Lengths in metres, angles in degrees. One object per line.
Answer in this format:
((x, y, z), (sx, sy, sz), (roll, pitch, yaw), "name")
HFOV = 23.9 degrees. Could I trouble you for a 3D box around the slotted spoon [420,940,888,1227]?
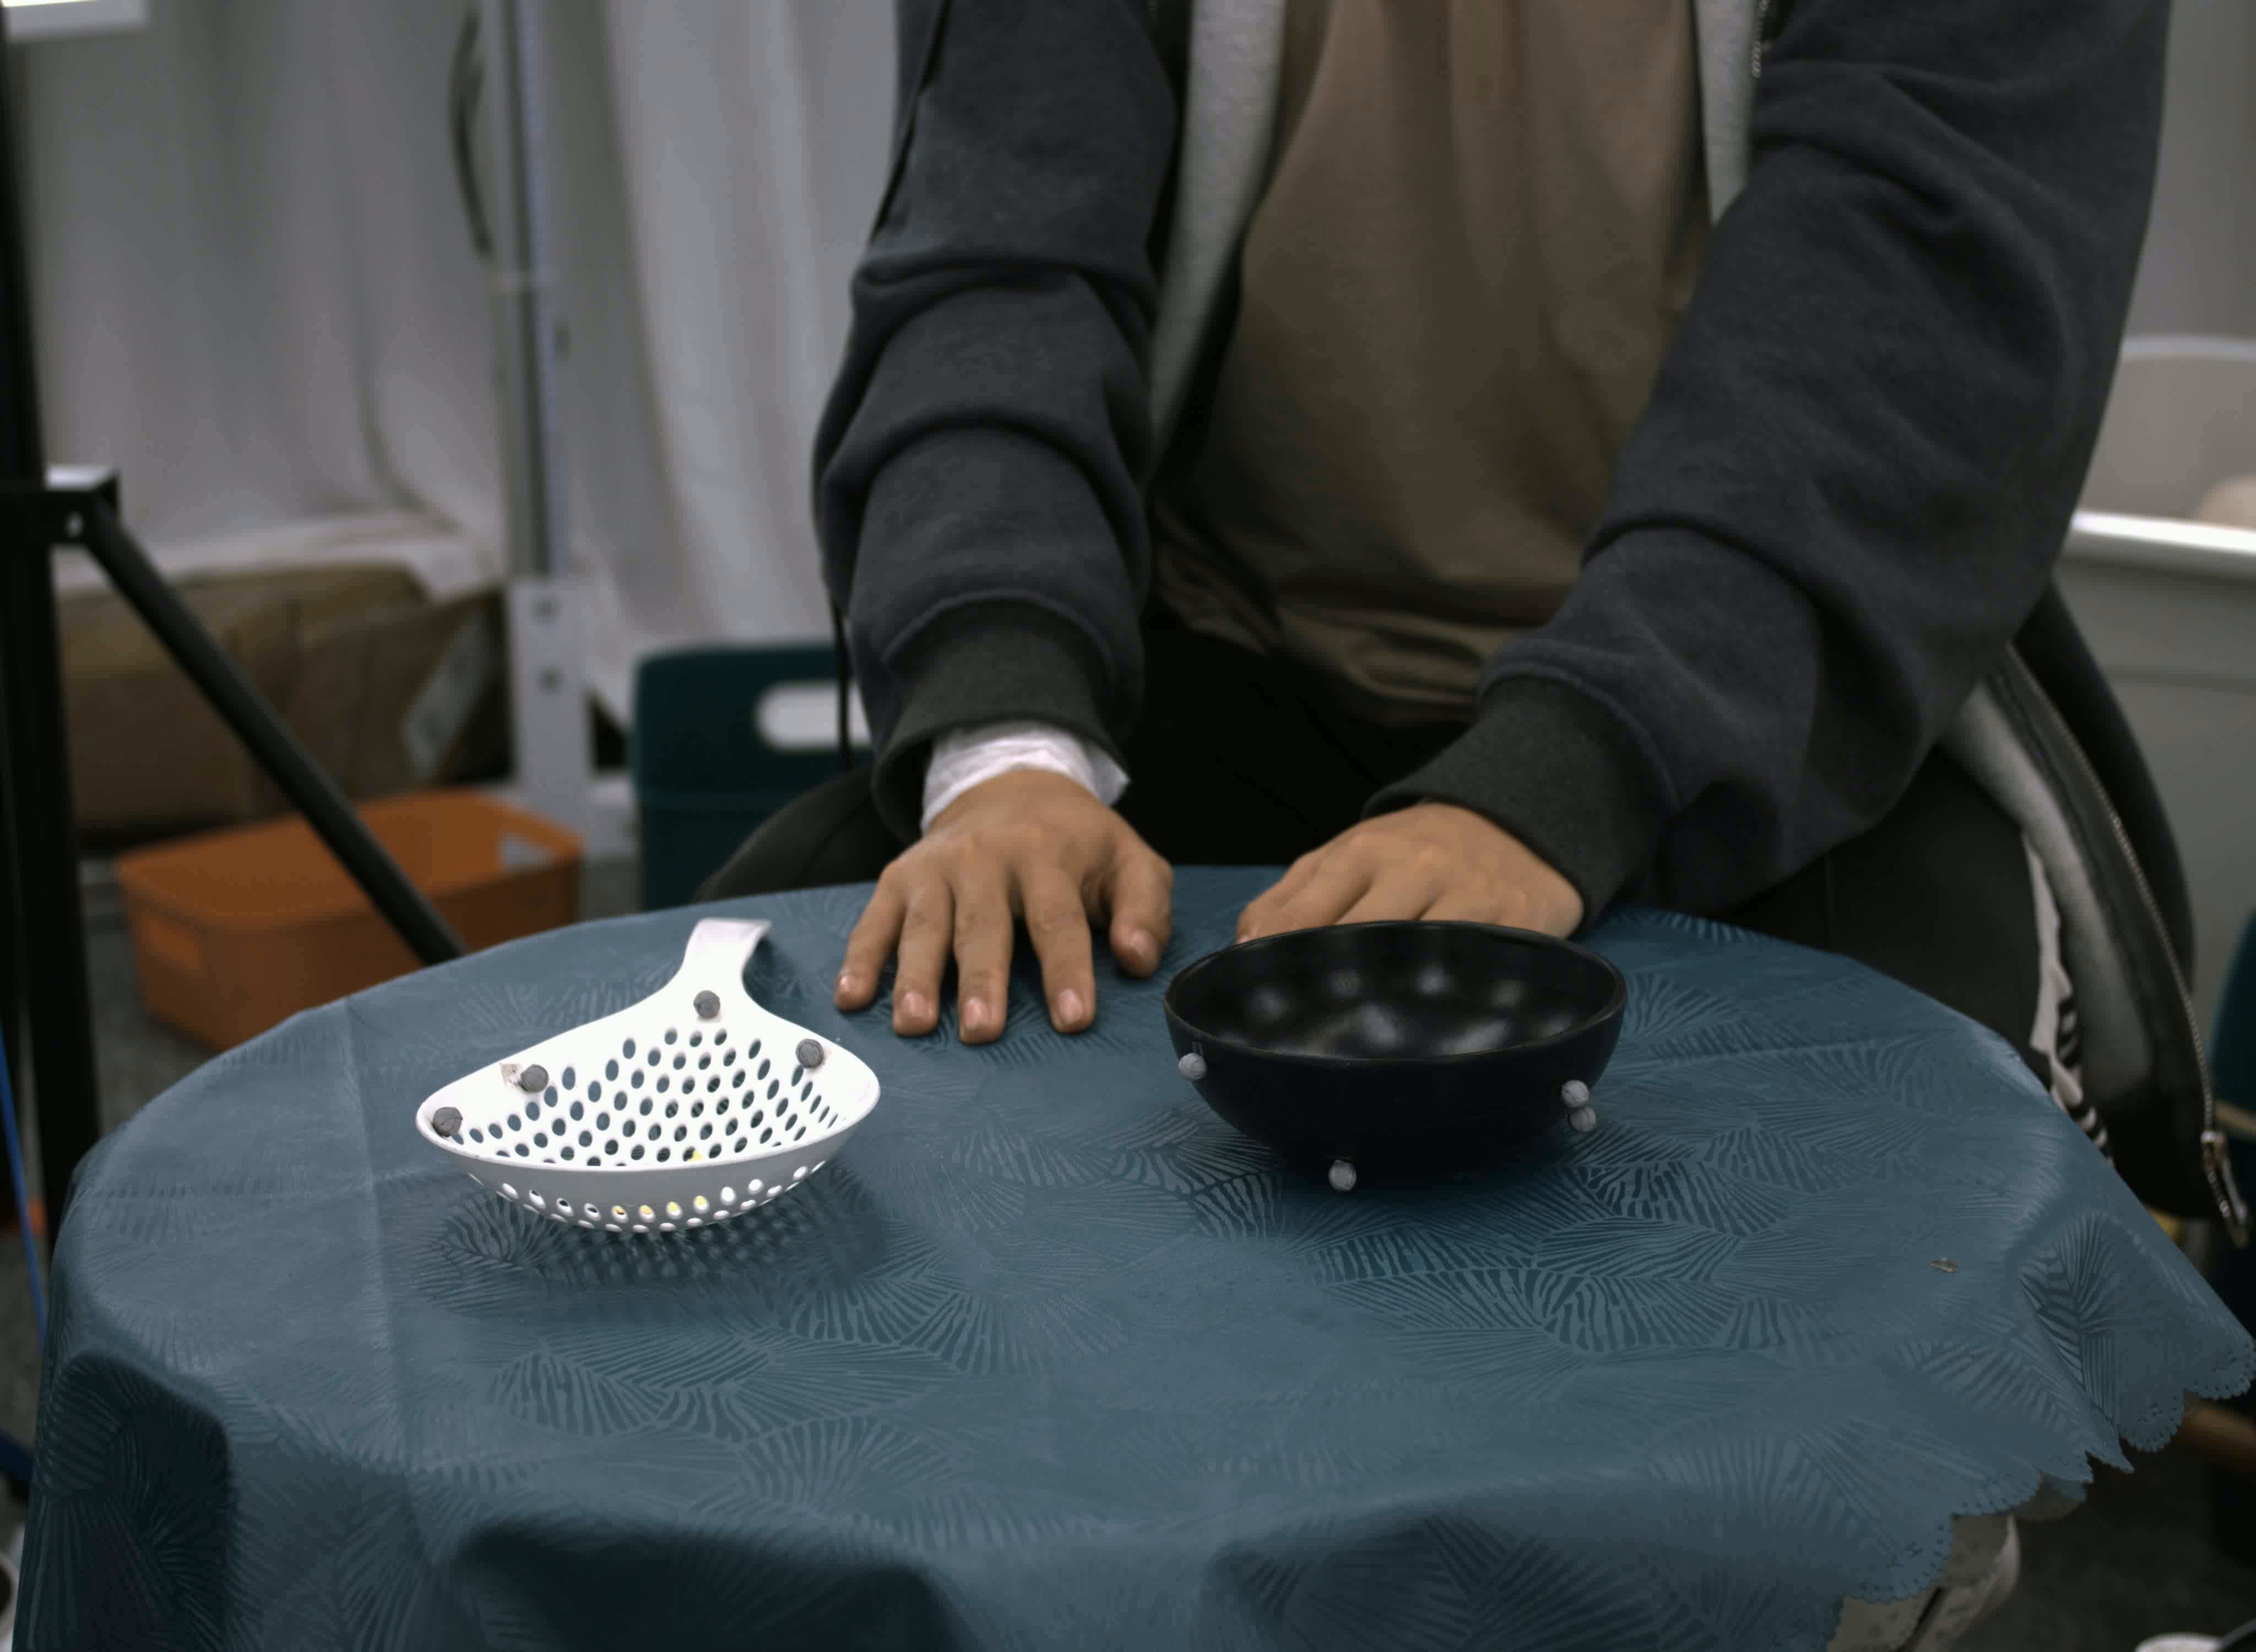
((-0.134, 0.066, 1.659), (0.136, 0.050, 0.349), (-6, 15, 3), "slotted spoon")
